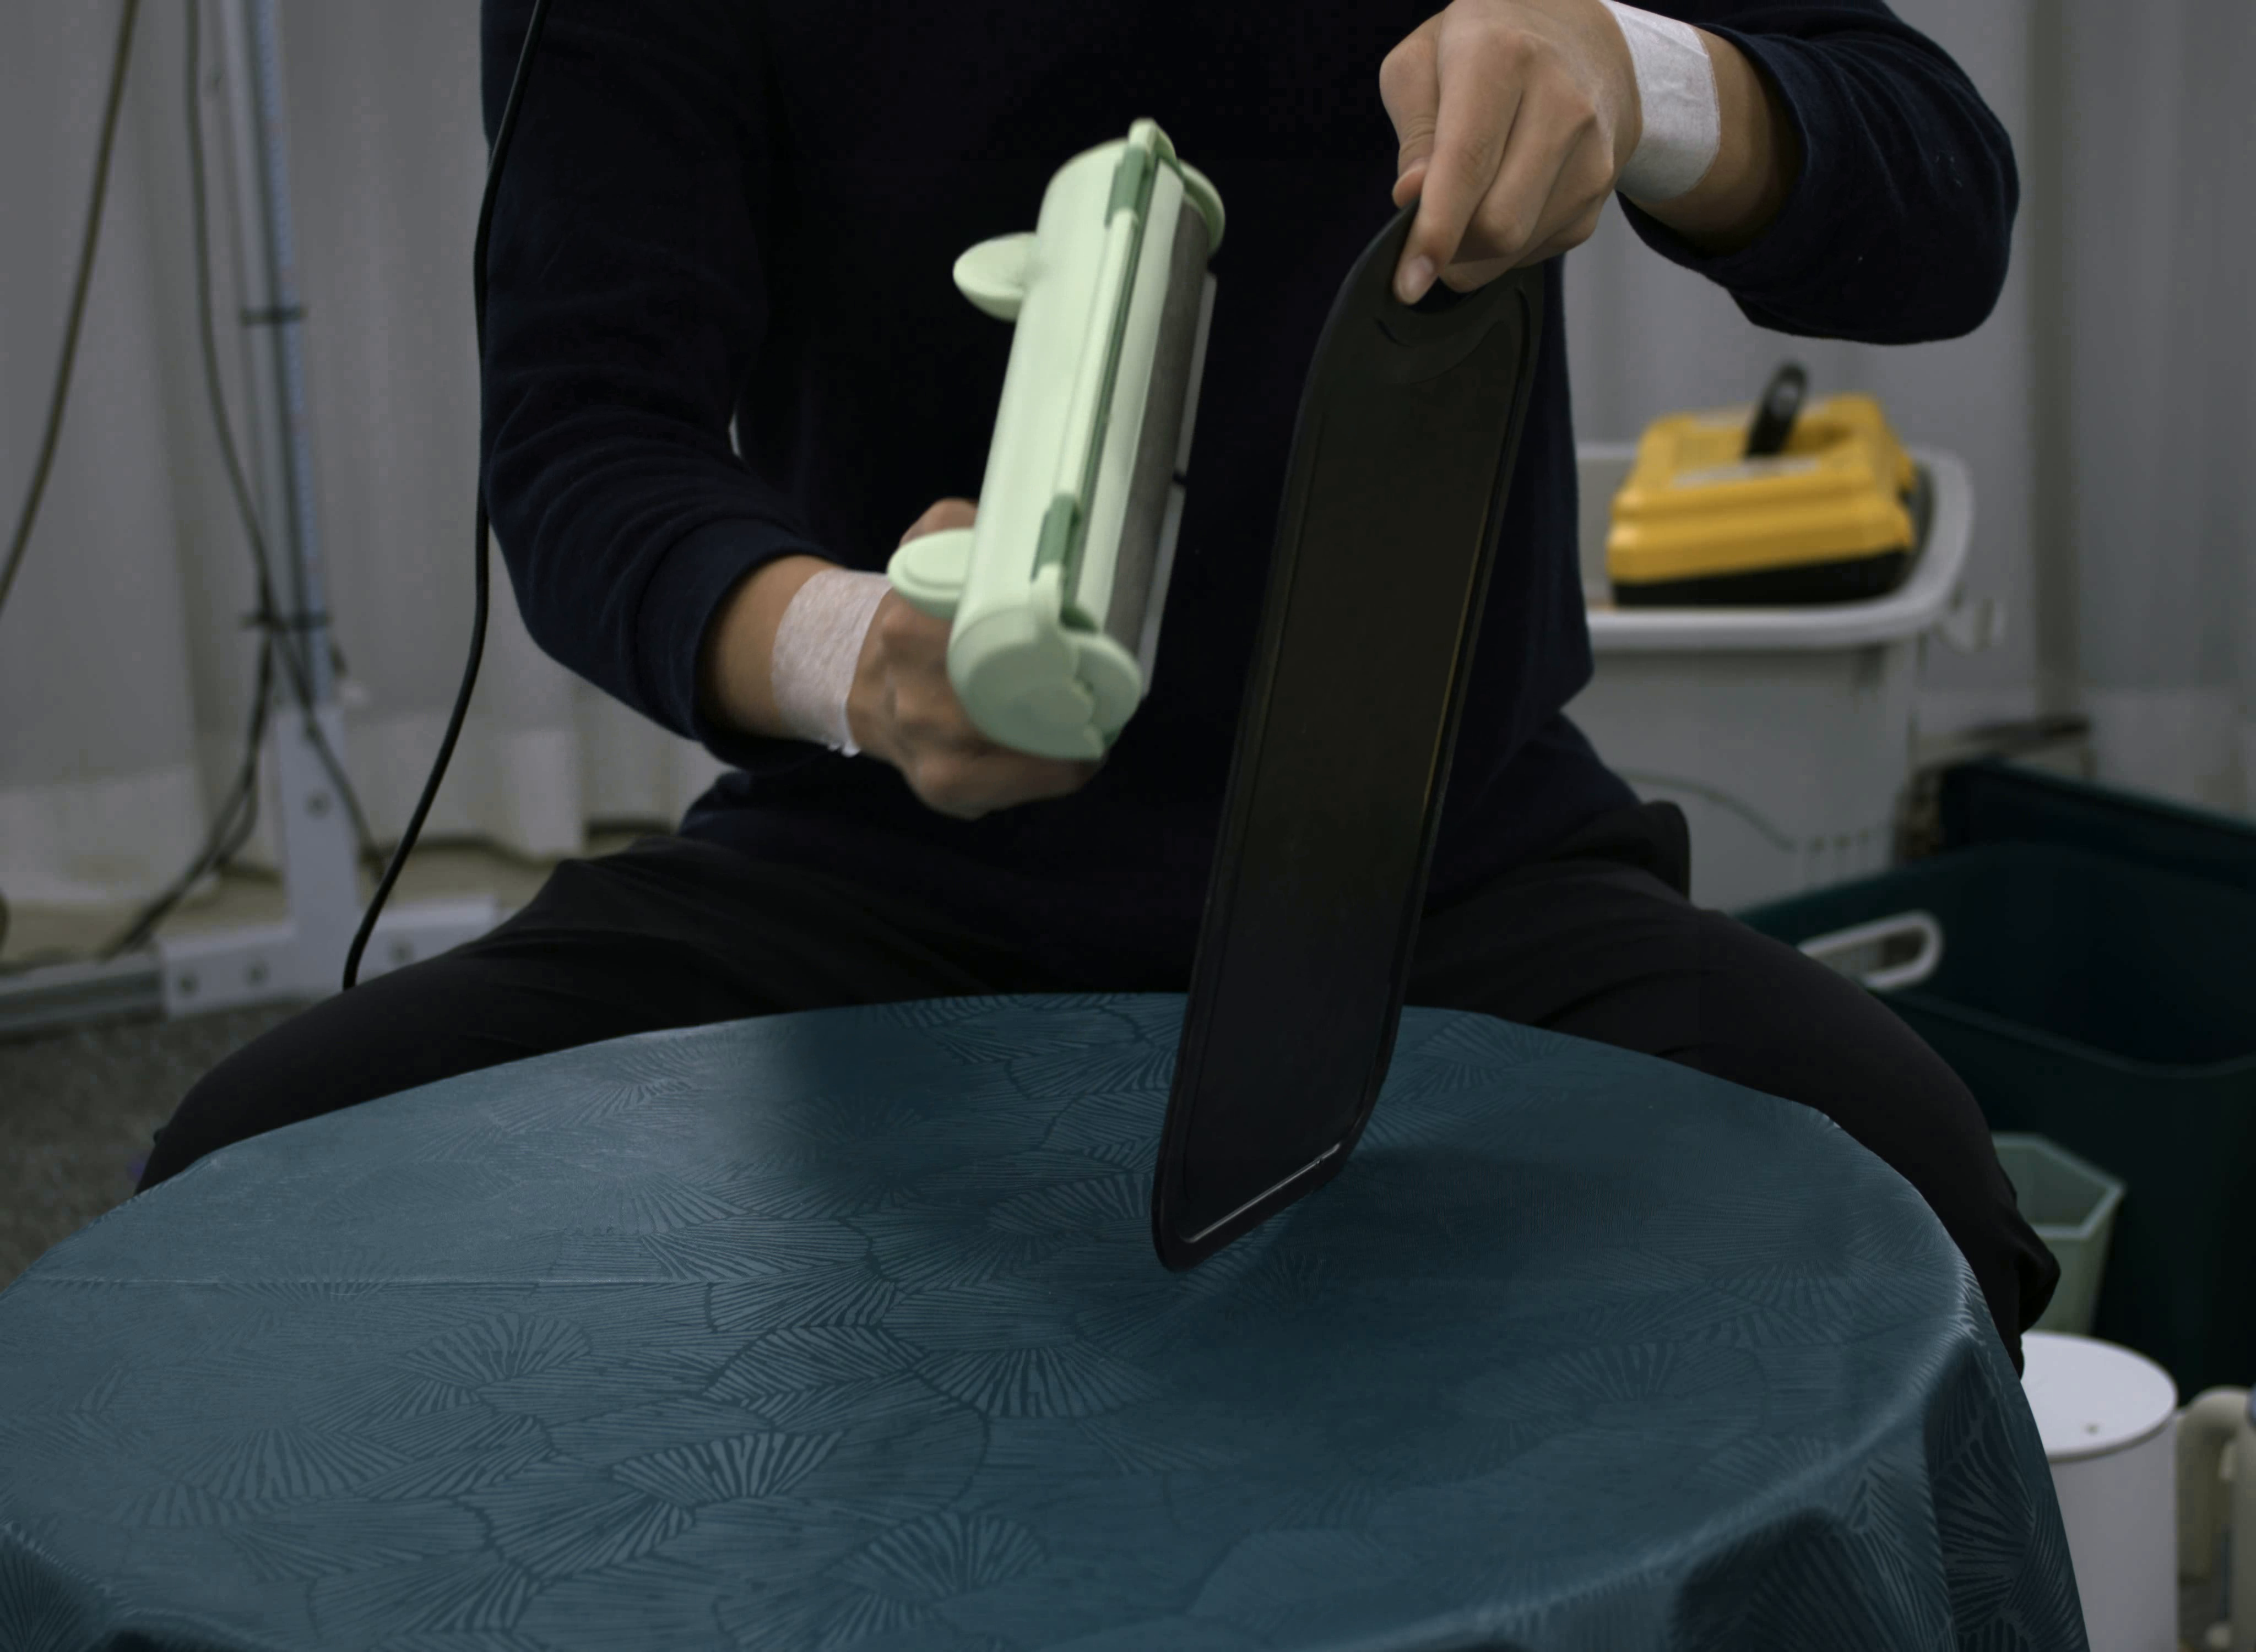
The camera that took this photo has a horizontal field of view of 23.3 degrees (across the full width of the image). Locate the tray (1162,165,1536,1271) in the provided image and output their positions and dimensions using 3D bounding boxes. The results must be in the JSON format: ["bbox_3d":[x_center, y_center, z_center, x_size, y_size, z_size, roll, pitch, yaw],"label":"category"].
[{"bbox_3d":[0.069,-0.035,1.622,0.010,0.324,0.211,14,12,18],"label":"tray"}]

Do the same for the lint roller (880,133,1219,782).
[{"bbox_3d":[-0.039,-0.078,1.580,0.082,0.182,0.201,21,49,-12],"label":"lint roller"}]
